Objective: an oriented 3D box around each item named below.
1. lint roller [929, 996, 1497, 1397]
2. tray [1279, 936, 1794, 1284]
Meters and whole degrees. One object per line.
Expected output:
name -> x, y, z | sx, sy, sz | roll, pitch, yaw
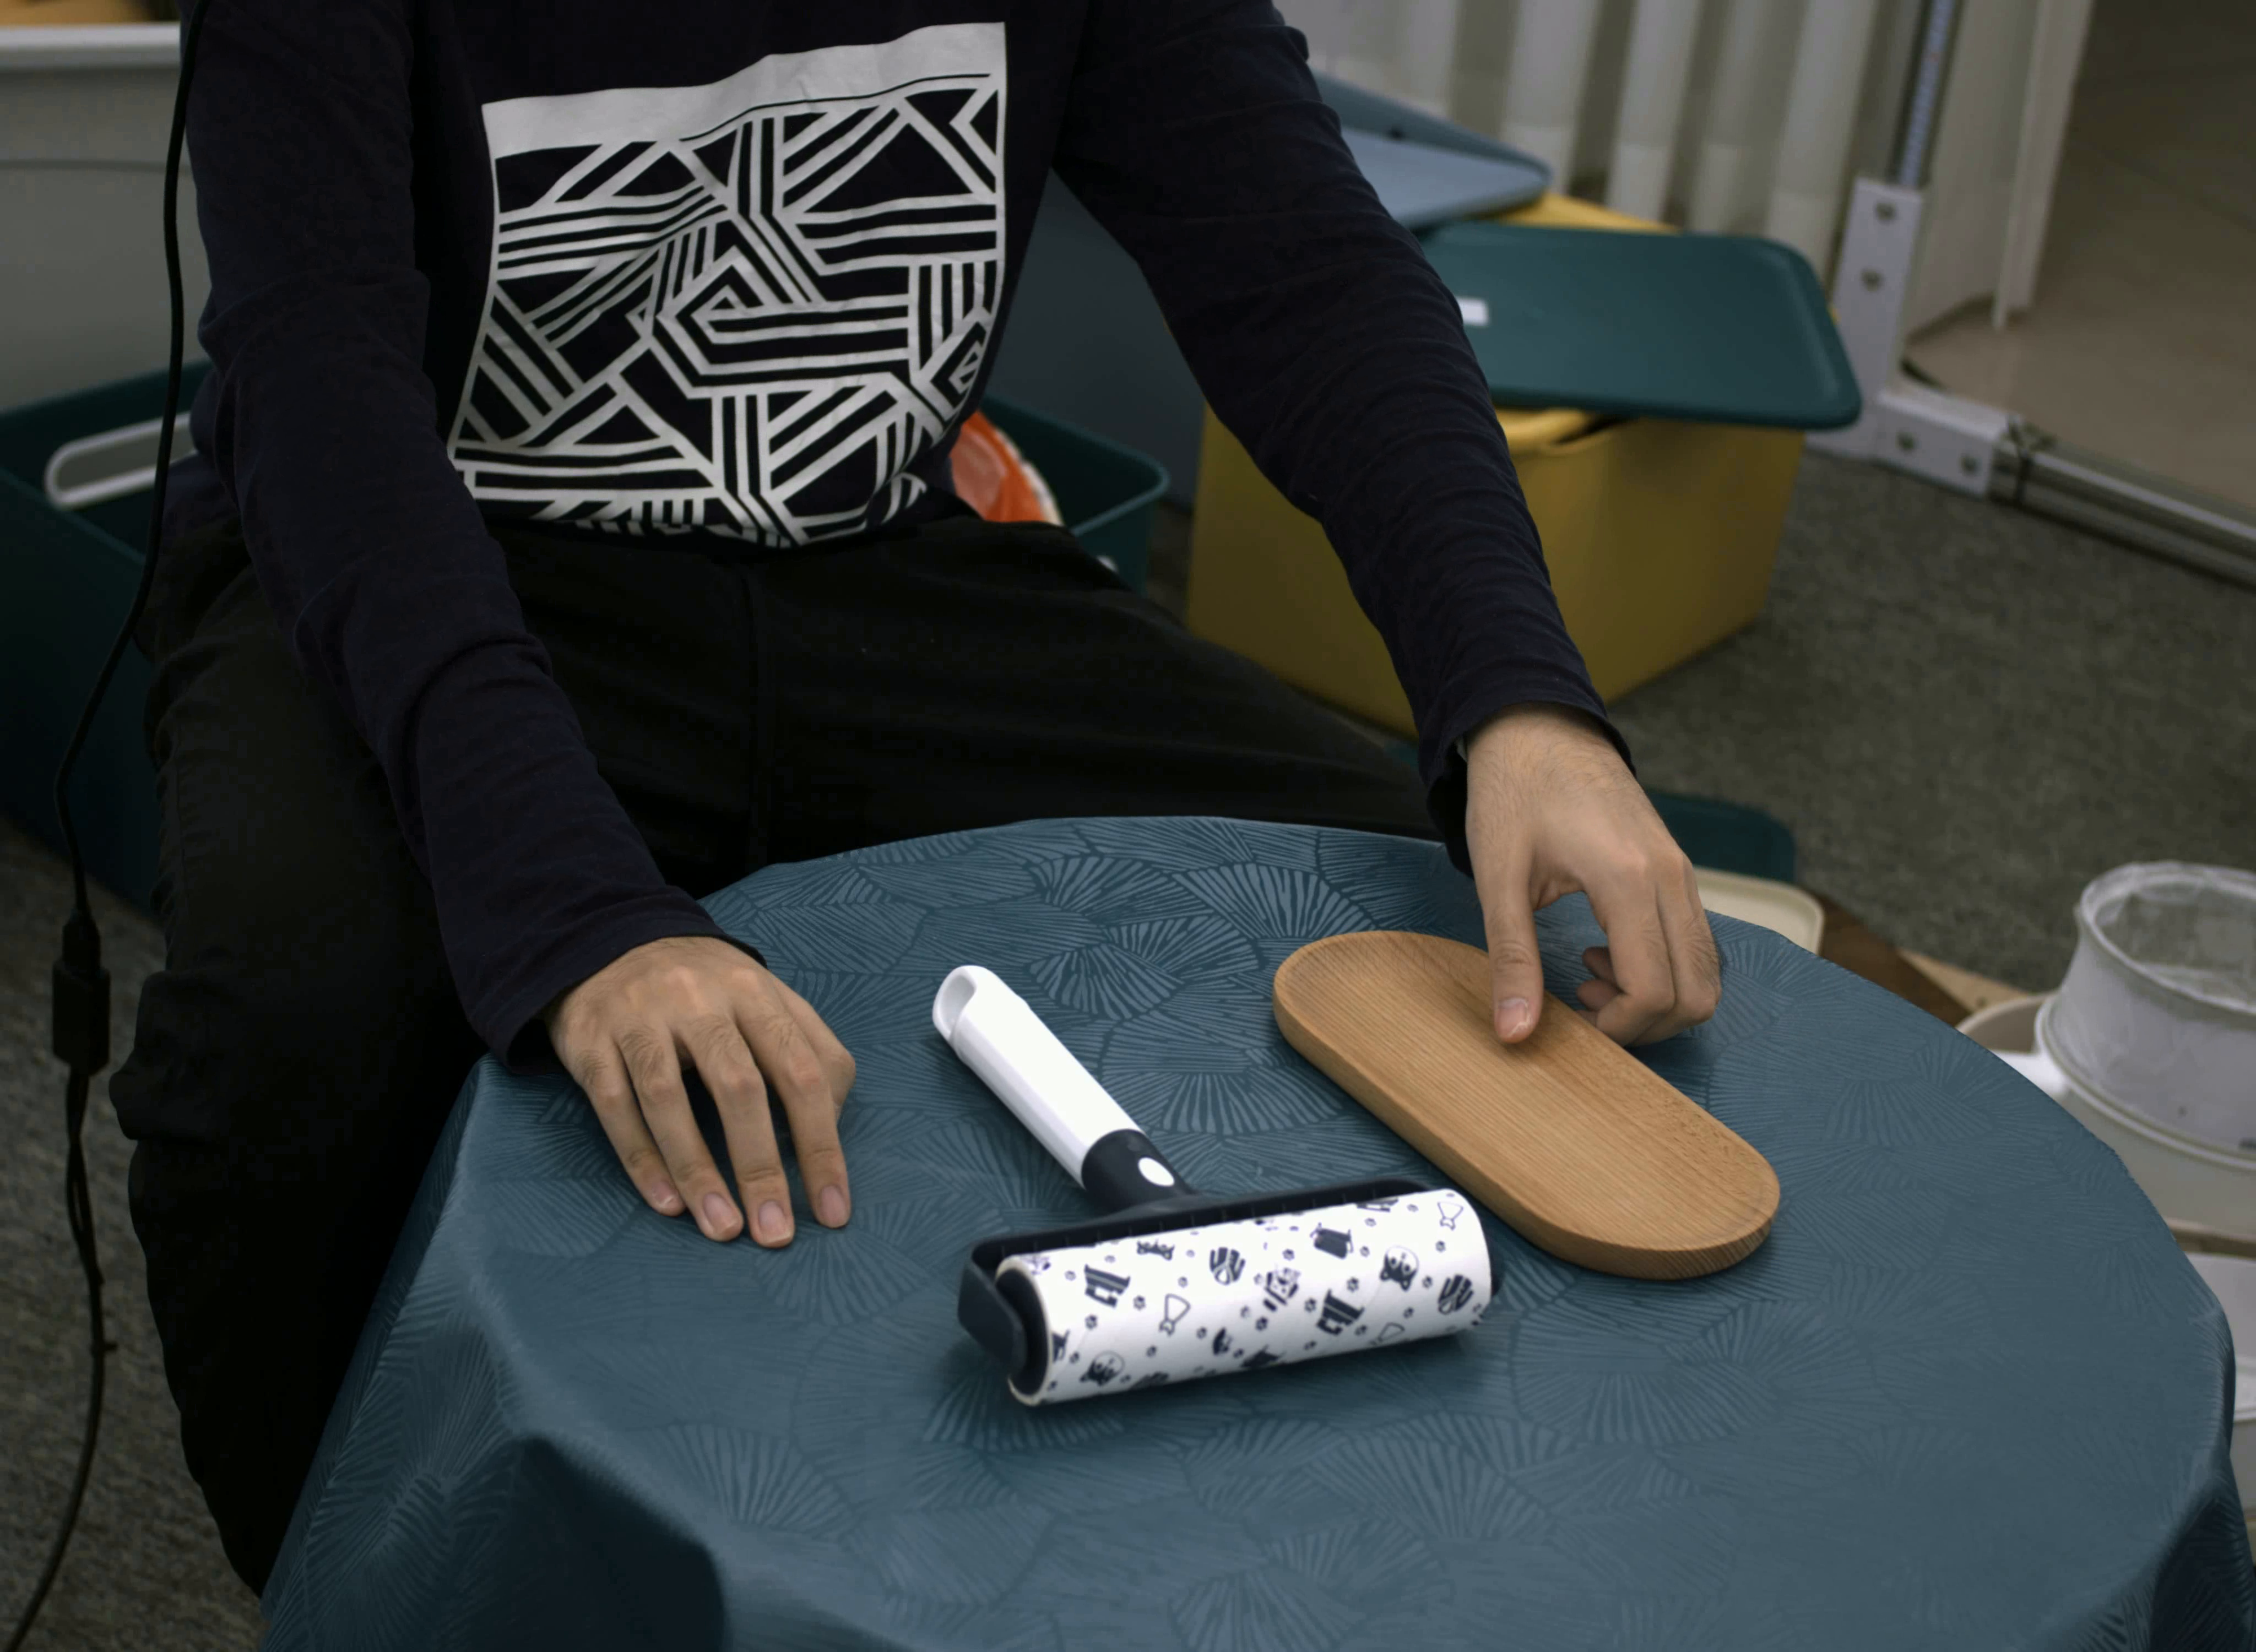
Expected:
lint roller -> -0.010, 0.109, 1.789 | 0.175, 0.050, 0.249 | -8, 27, -25
tray -> 0.140, 0.098, 1.871 | 0.101, 0.020, 0.233 | -14, 34, -31
